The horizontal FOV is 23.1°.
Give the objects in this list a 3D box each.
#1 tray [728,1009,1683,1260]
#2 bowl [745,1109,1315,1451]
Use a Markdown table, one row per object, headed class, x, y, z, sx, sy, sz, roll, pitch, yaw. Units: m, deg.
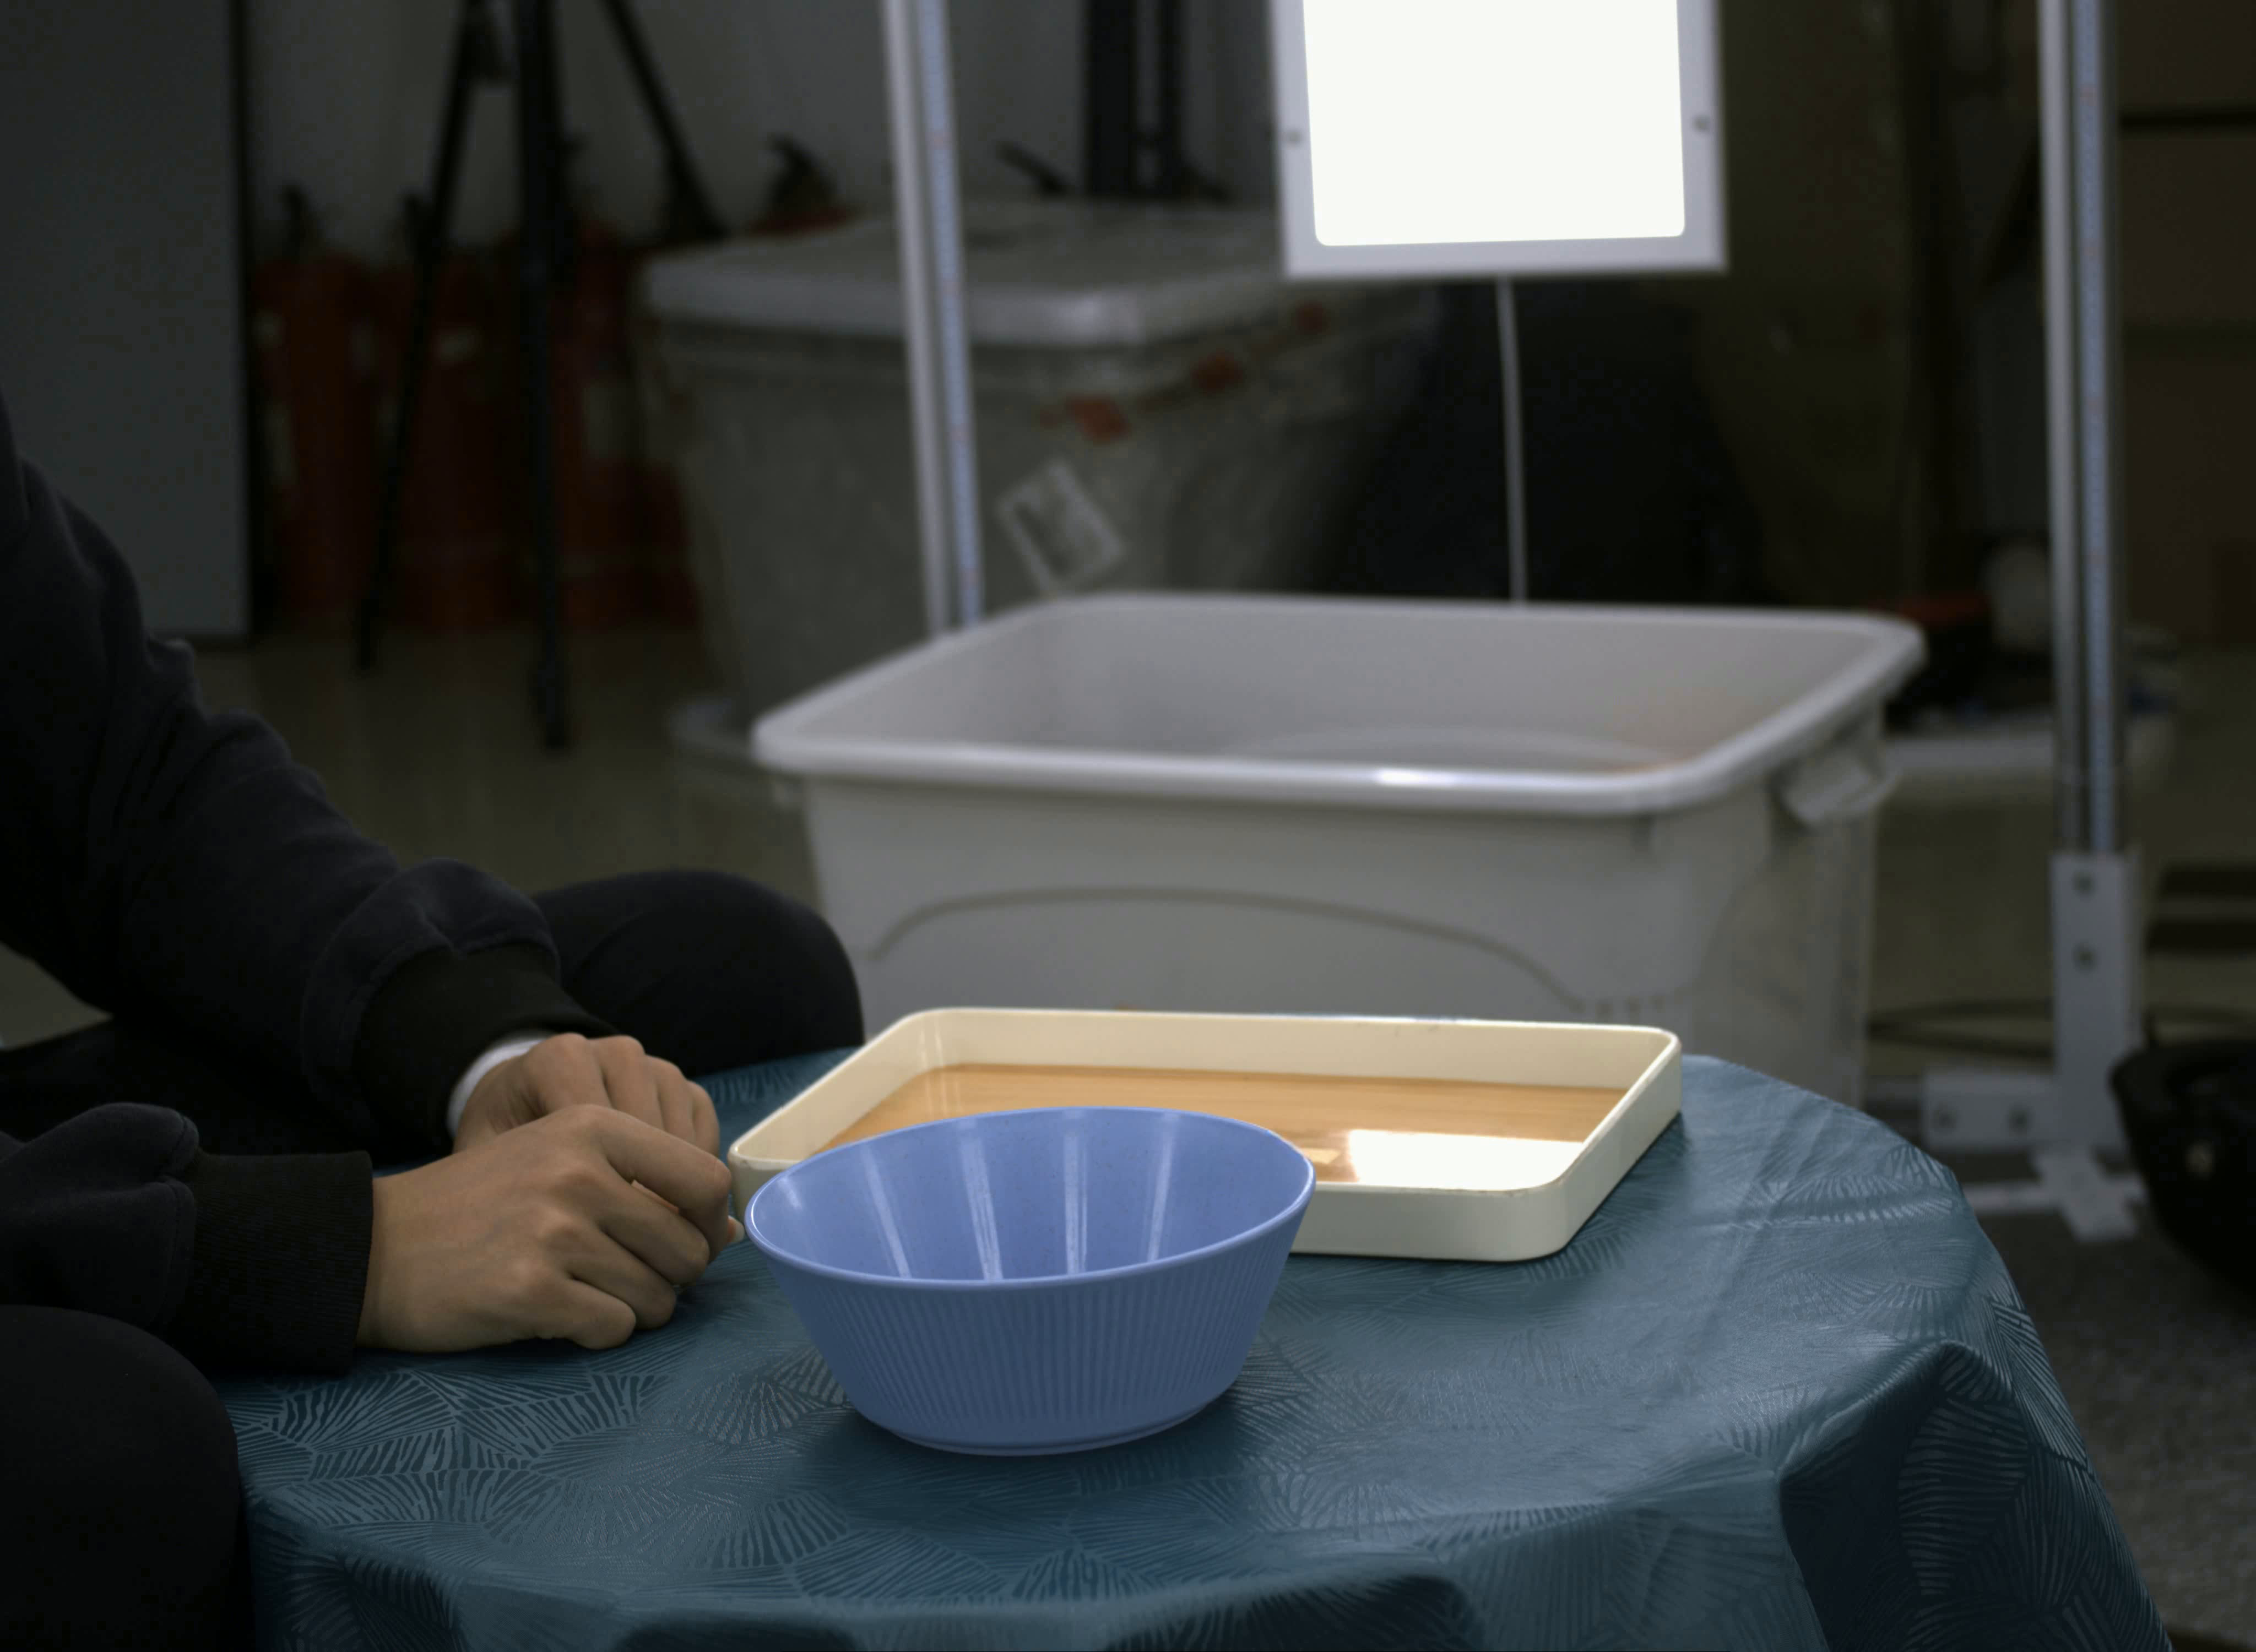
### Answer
| class | x | y | z | sx | sy | sz | roll | pitch | yaw |
| --- | --- | --- | --- | --- | --- | --- | --- | --- | --- |
| tray | 0.030 | 0.105 | 1.918 | 0.304 | 0.027 | 0.188 | 1 | 15 | 22 |
| bowl | -0.028 | 0.142 | 1.694 | 0.175 | 0.070 | 0.176 | -4 | 14 | 0 |
